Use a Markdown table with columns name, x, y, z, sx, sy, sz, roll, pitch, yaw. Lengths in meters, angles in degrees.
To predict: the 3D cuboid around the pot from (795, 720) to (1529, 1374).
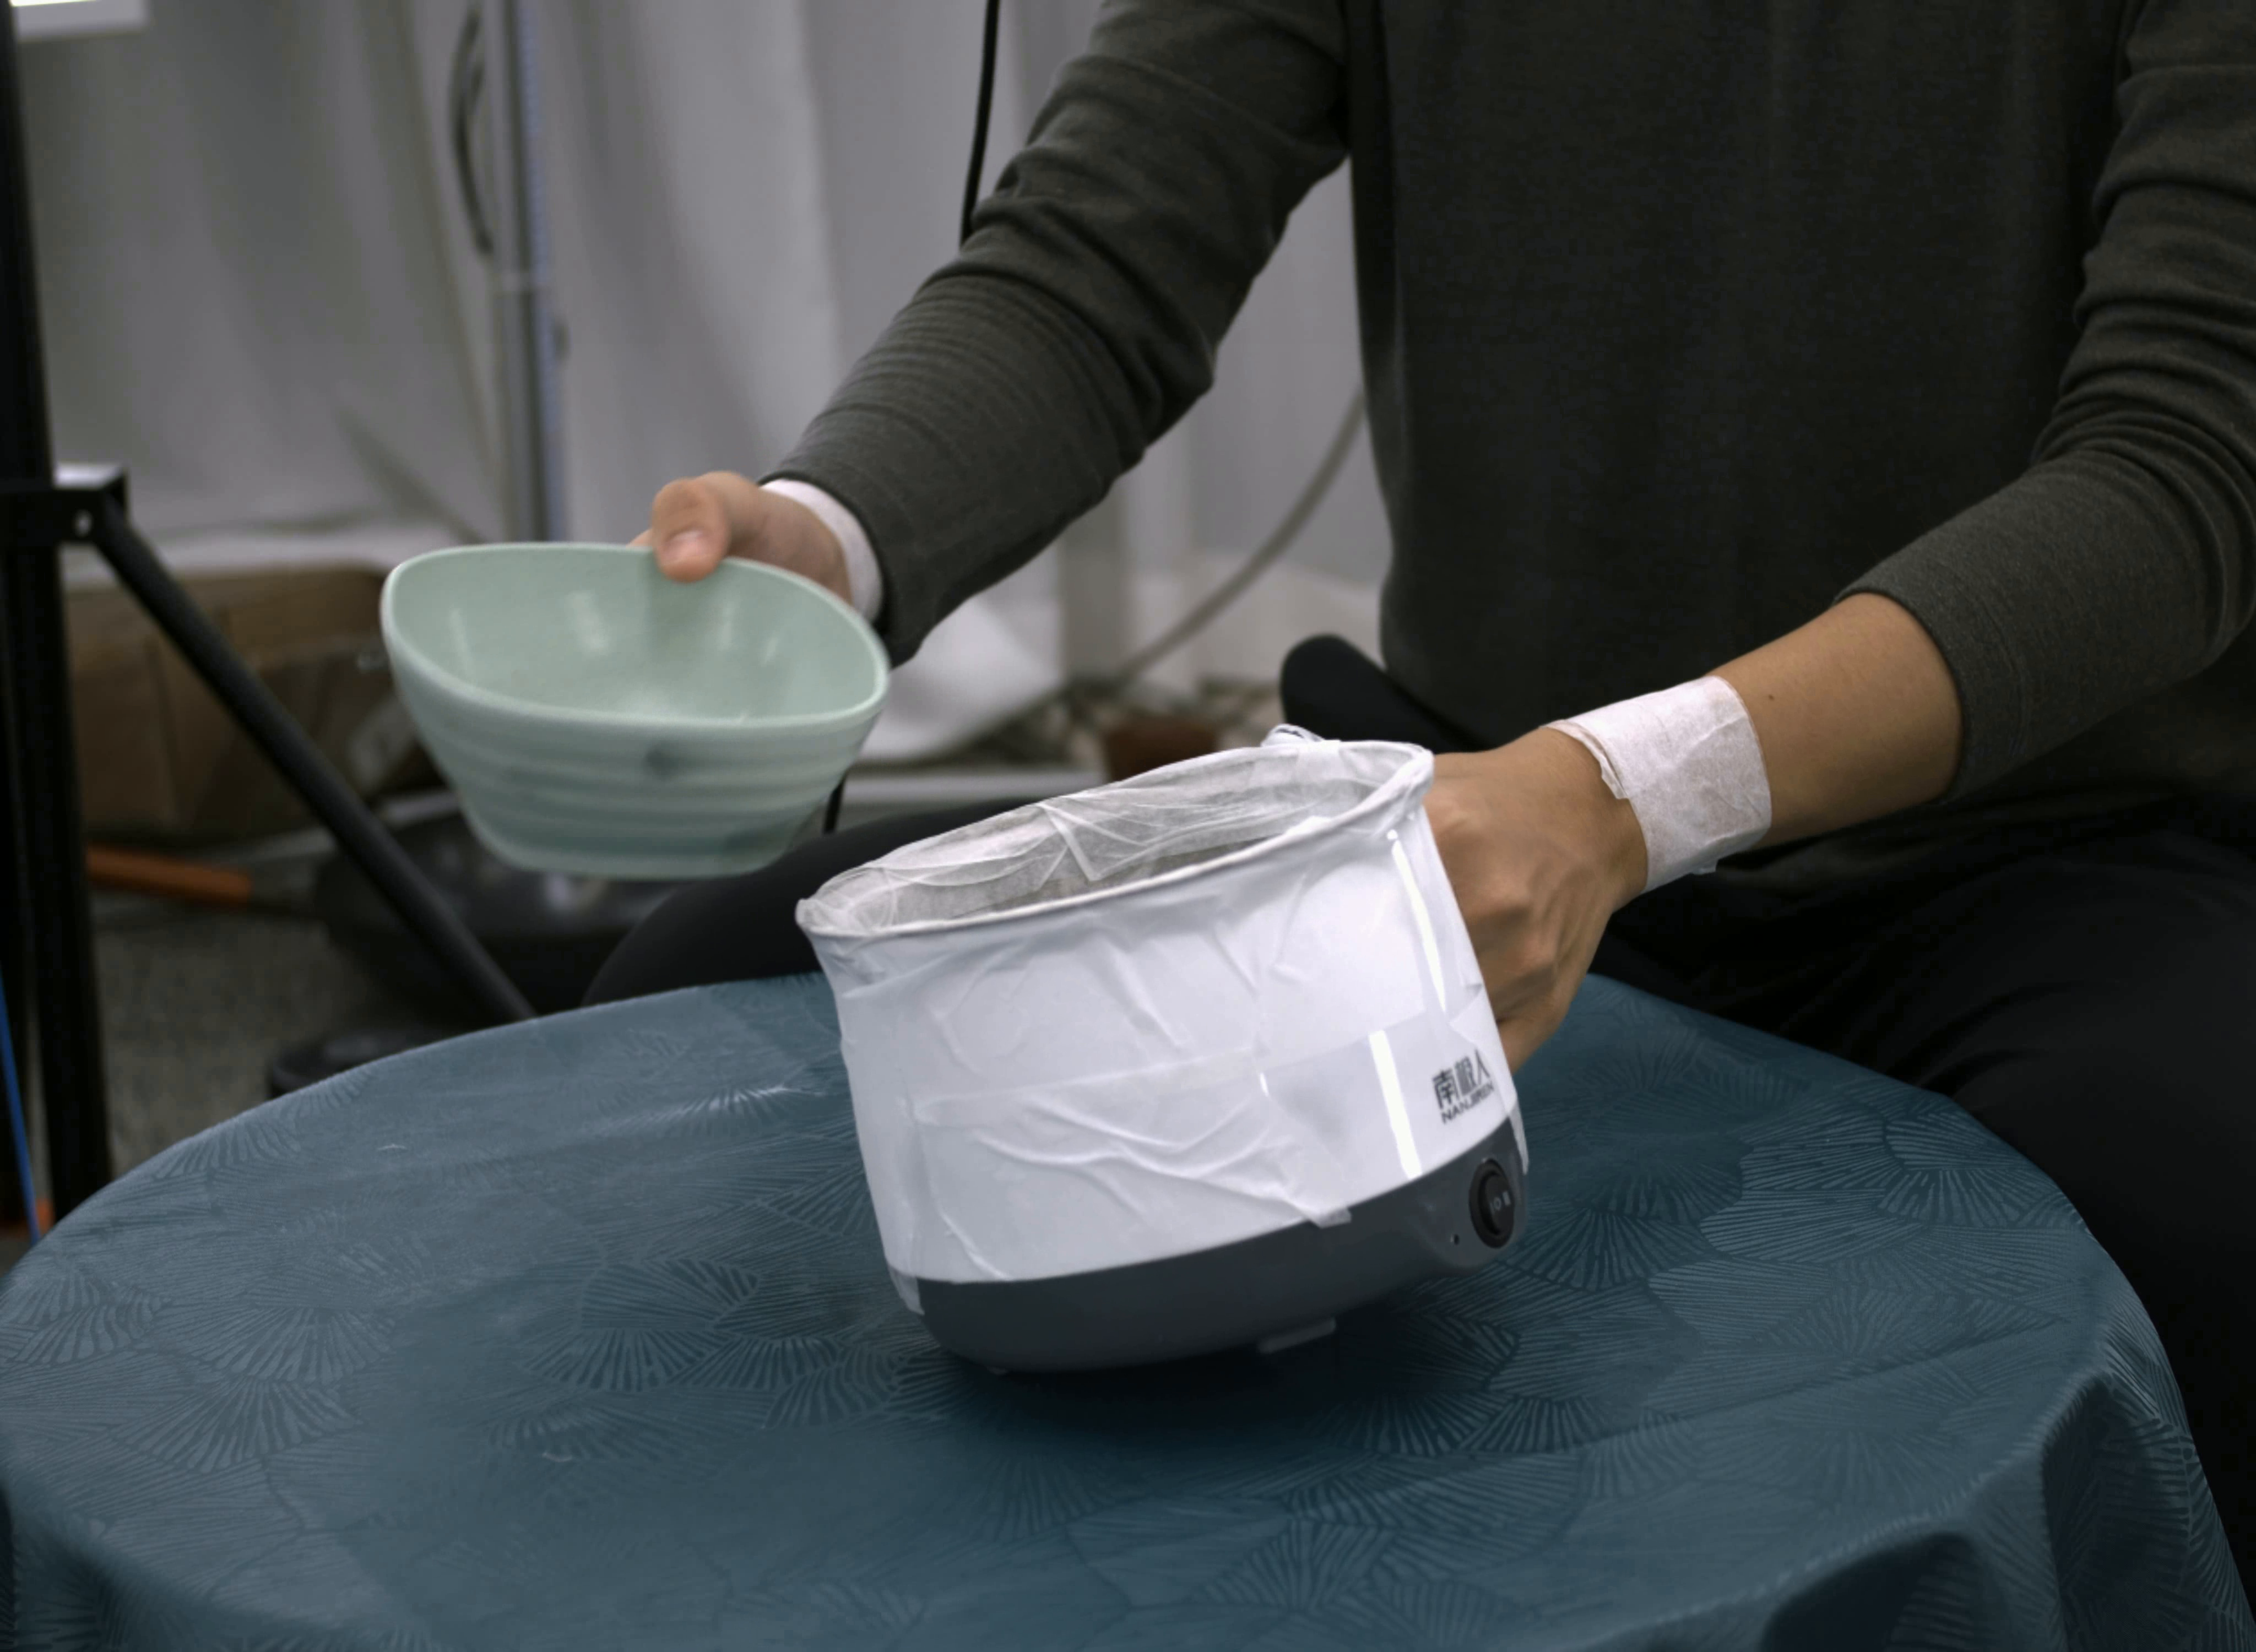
| name | x | y | z | sx | sy | sz | roll | pitch | yaw |
| --- | --- | --- | --- | --- | --- | --- | --- | --- | --- |
| pot | 0.024 | 0.055 | 1.452 | 0.182 | 0.136 | 0.230 | -9 | 10 | 32 |

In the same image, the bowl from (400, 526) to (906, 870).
| name | x | y | z | sx | sy | sz | roll | pitch | yaw |
| --- | --- | --- | --- | --- | --- | --- | --- | --- | --- |
| bowl | -0.135 | -0.032 | 1.487 | 0.150 | 0.058 | 0.152 | 6 | 22 | -4 |
